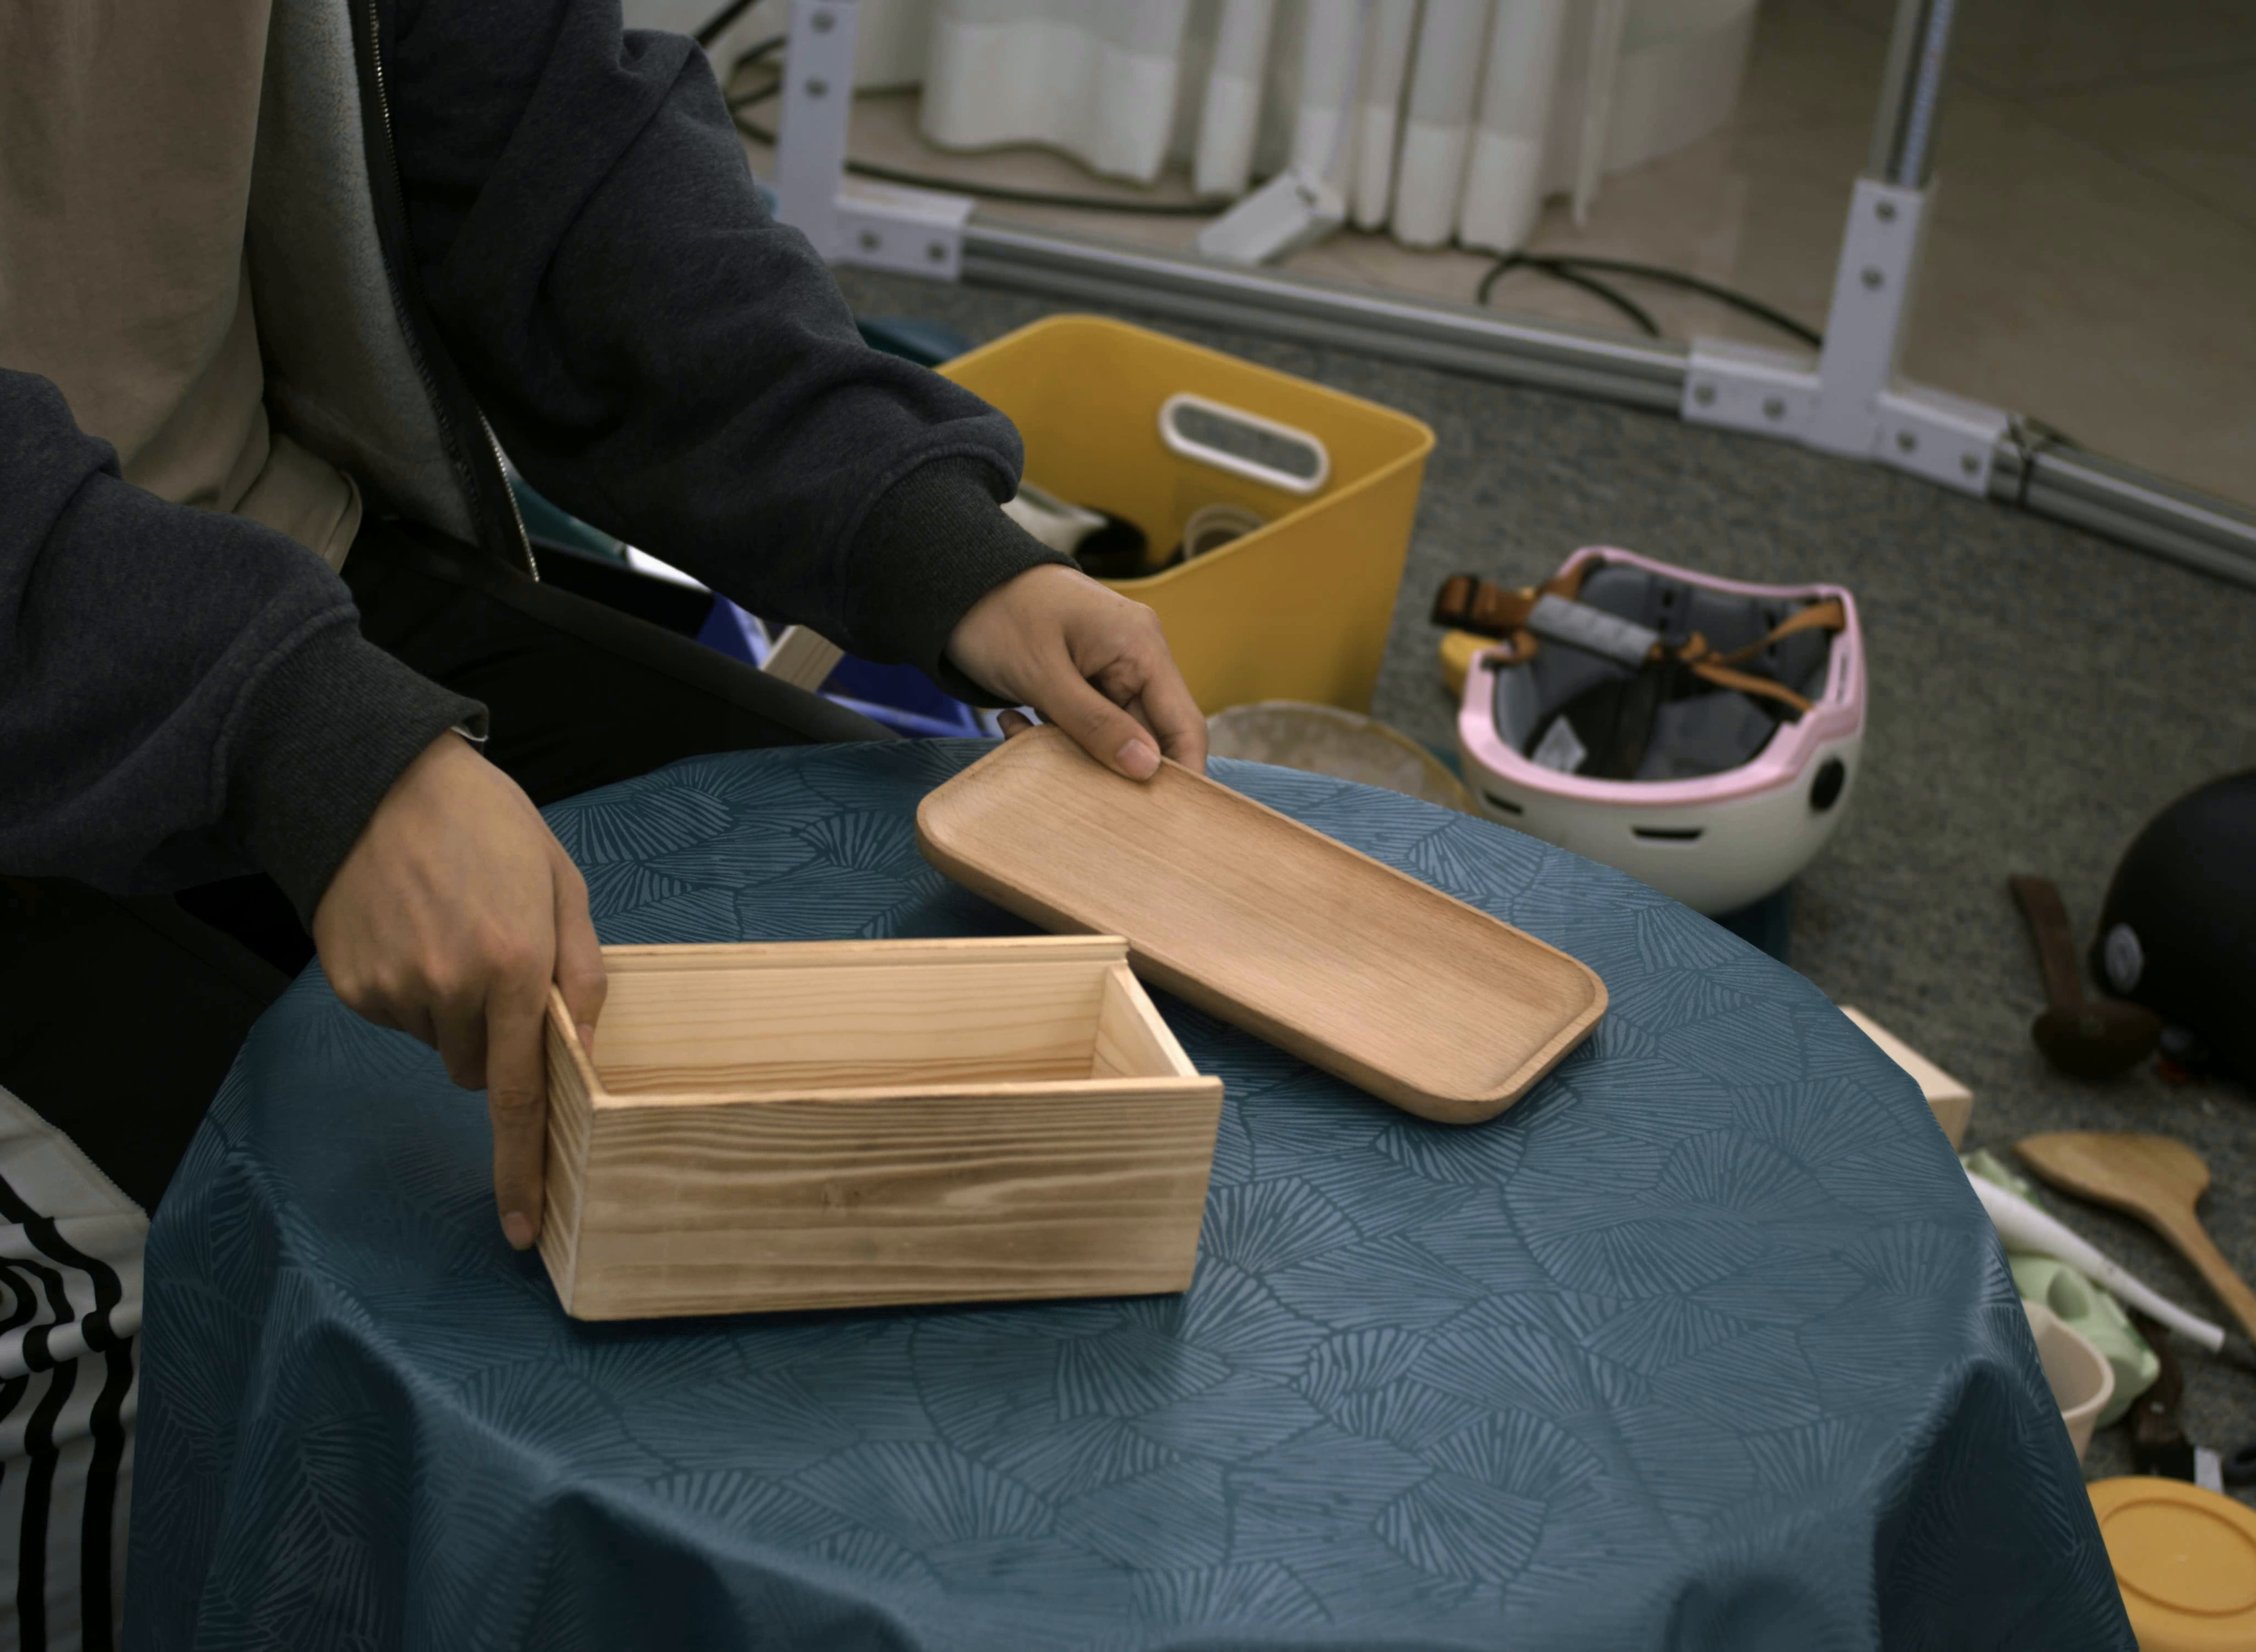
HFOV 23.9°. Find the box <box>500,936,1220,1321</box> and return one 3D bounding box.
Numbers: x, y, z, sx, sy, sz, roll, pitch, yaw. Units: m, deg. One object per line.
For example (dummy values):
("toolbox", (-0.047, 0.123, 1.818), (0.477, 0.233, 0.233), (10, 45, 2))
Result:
("box", (-0.089, 0.097, 1.737), (0.210, 0.080, 0.108), (-1, 27, -19))

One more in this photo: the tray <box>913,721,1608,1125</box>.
("tray", (0.047, 0.034, 1.938), (0.252, 0.023, 0.130), (26, 30, 22))
